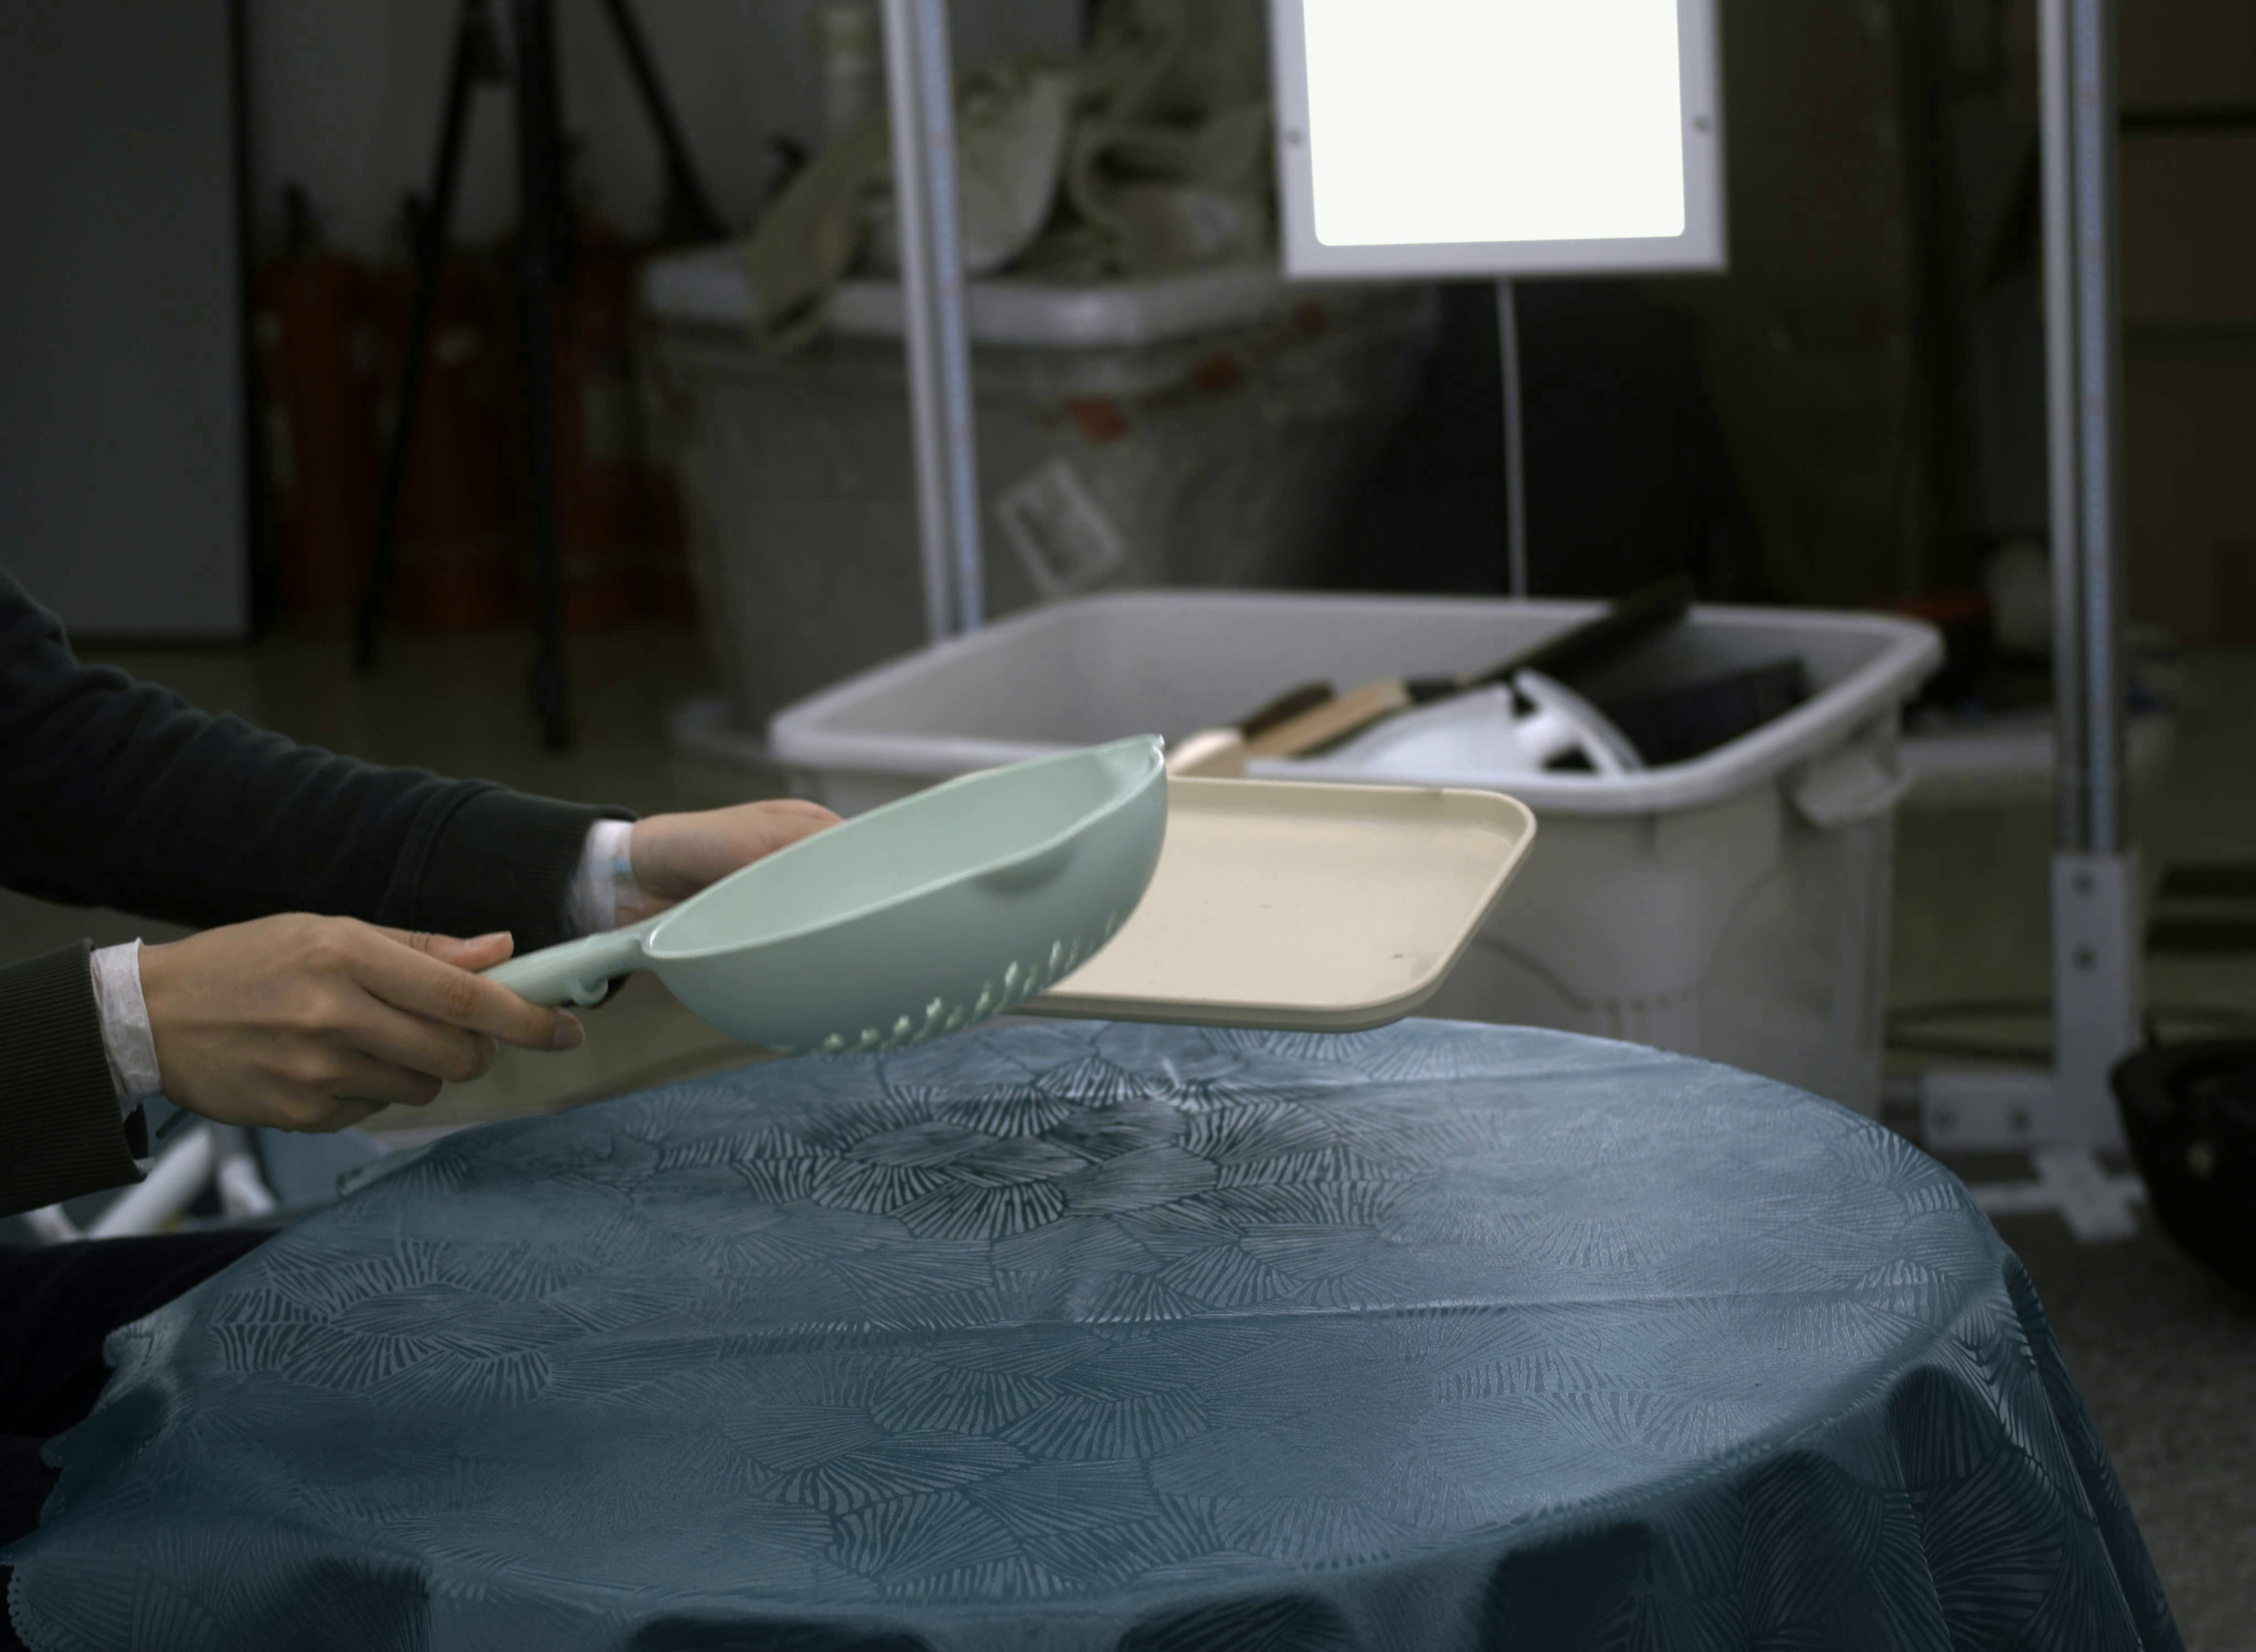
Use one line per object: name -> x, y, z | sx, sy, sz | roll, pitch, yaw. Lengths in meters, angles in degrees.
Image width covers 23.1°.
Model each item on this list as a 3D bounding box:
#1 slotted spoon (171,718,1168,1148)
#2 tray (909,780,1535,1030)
slotted spoon -> -0.152, 0.042, 1.731 | 0.364, 0.075, 0.166 | -9, 13, 21
tray -> 0.014, 0.027, 1.929 | 0.243, 0.017, 0.168 | 1, 27, 24
